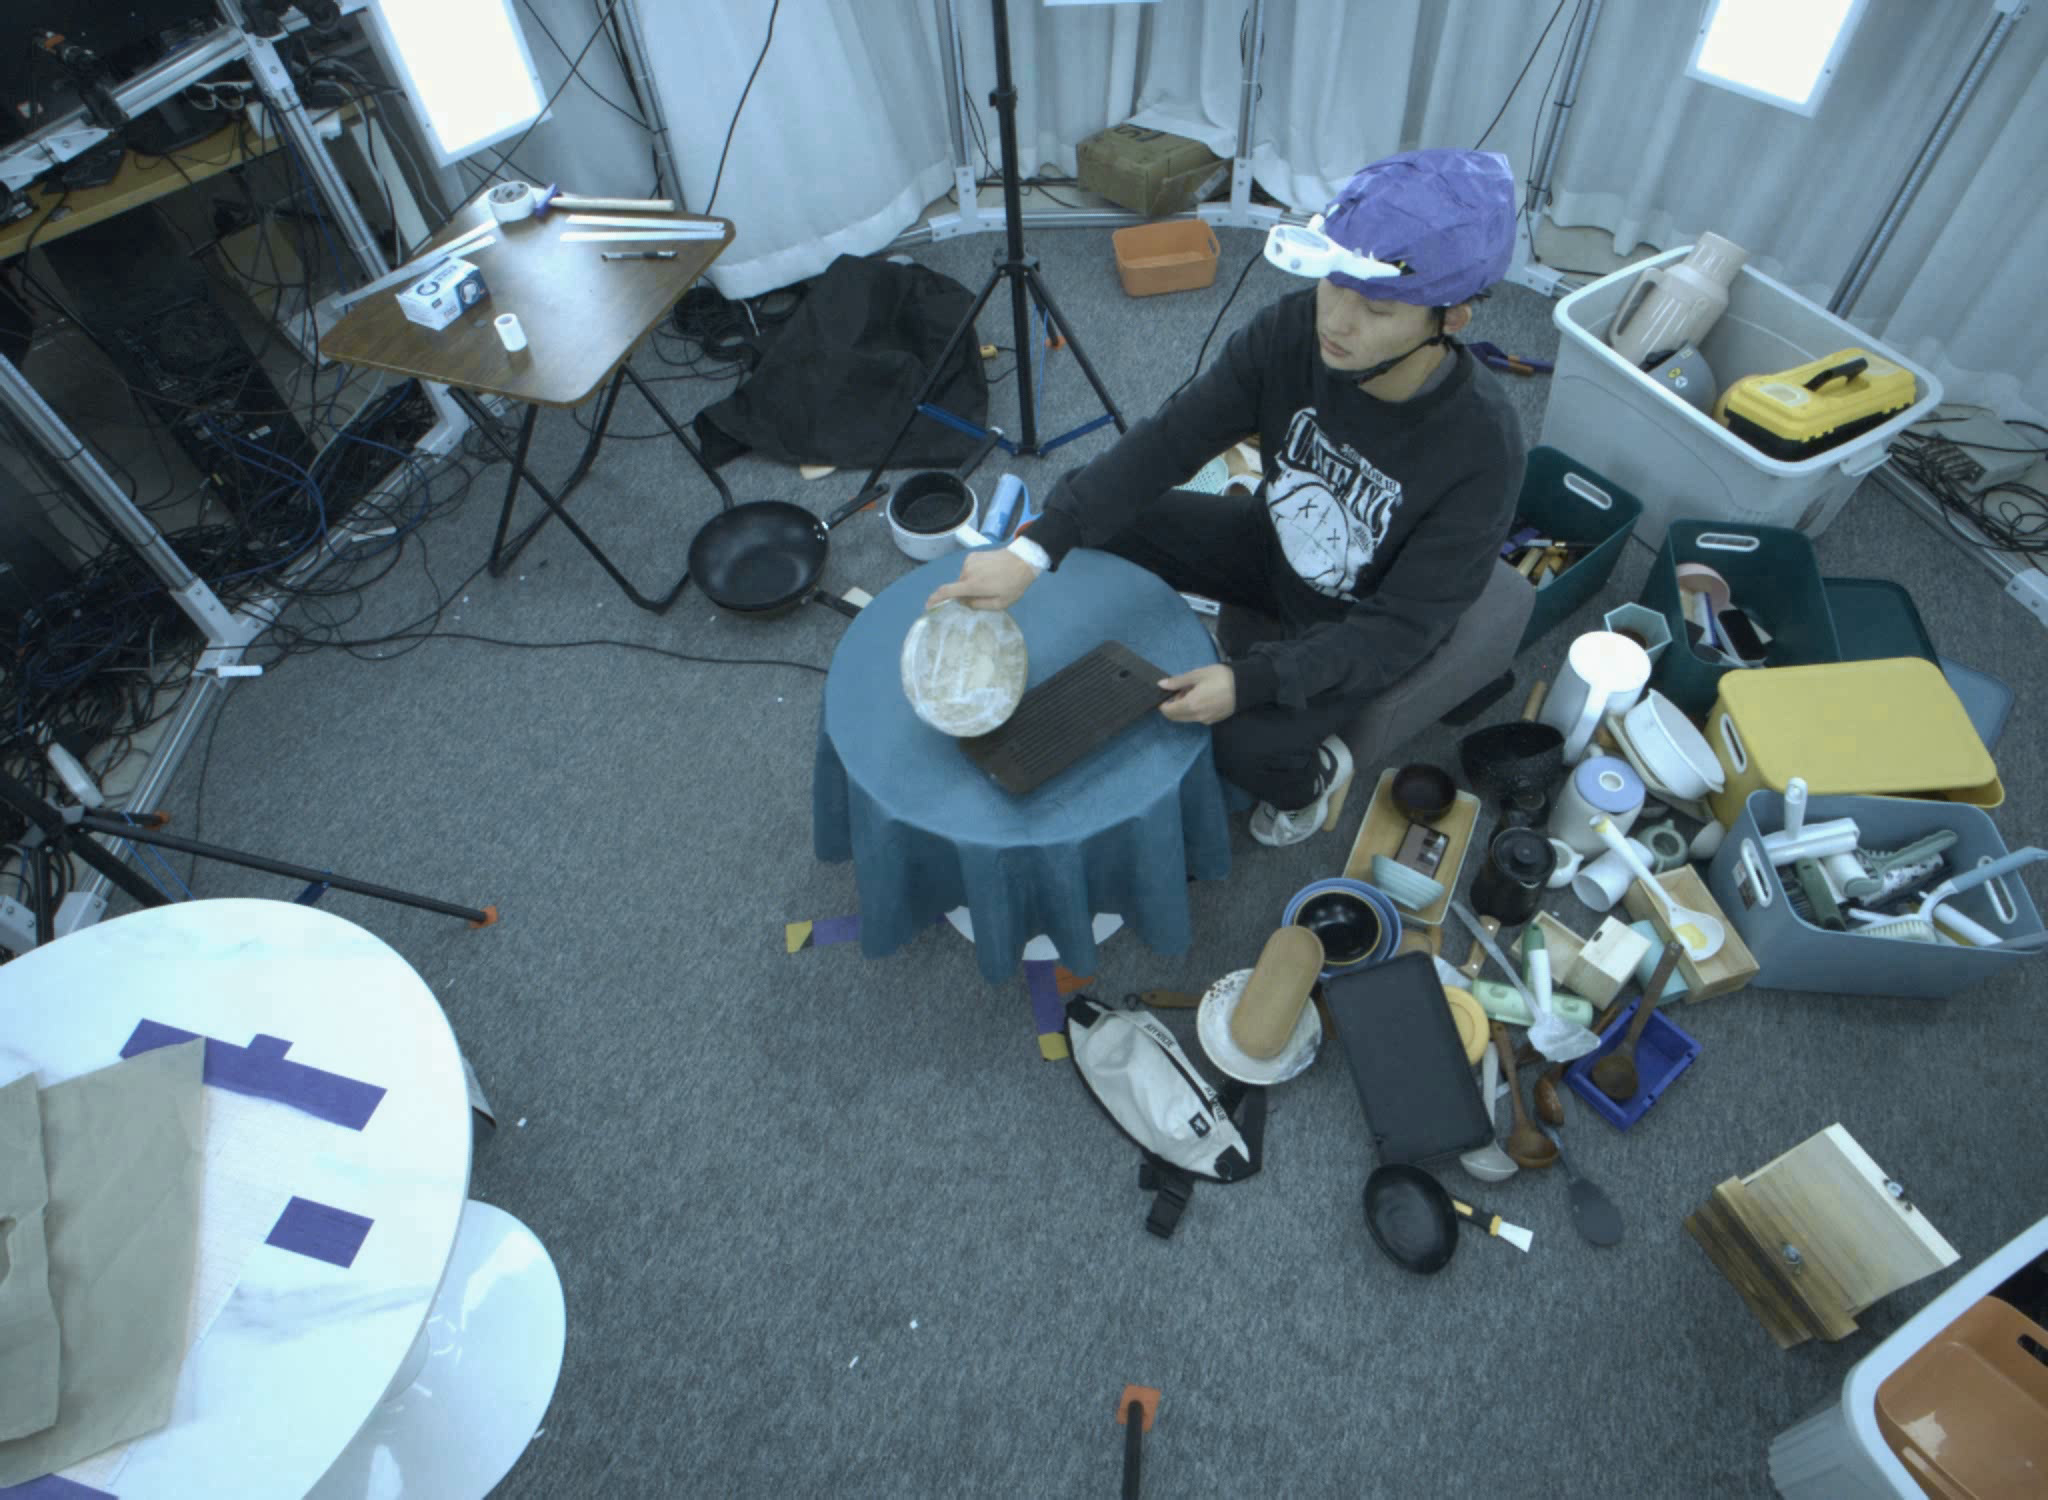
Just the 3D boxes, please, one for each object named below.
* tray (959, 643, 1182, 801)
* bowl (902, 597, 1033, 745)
[{"bbox_3d":[0.068,-0.044,1.794,0.308,0.019,0.166,-33,47,-20],"label":"tray"},{"bbox_3d":[-0.096,-0.116,1.763,0.092,0.218,0.216,8,49,49],"label":"bowl"}]
